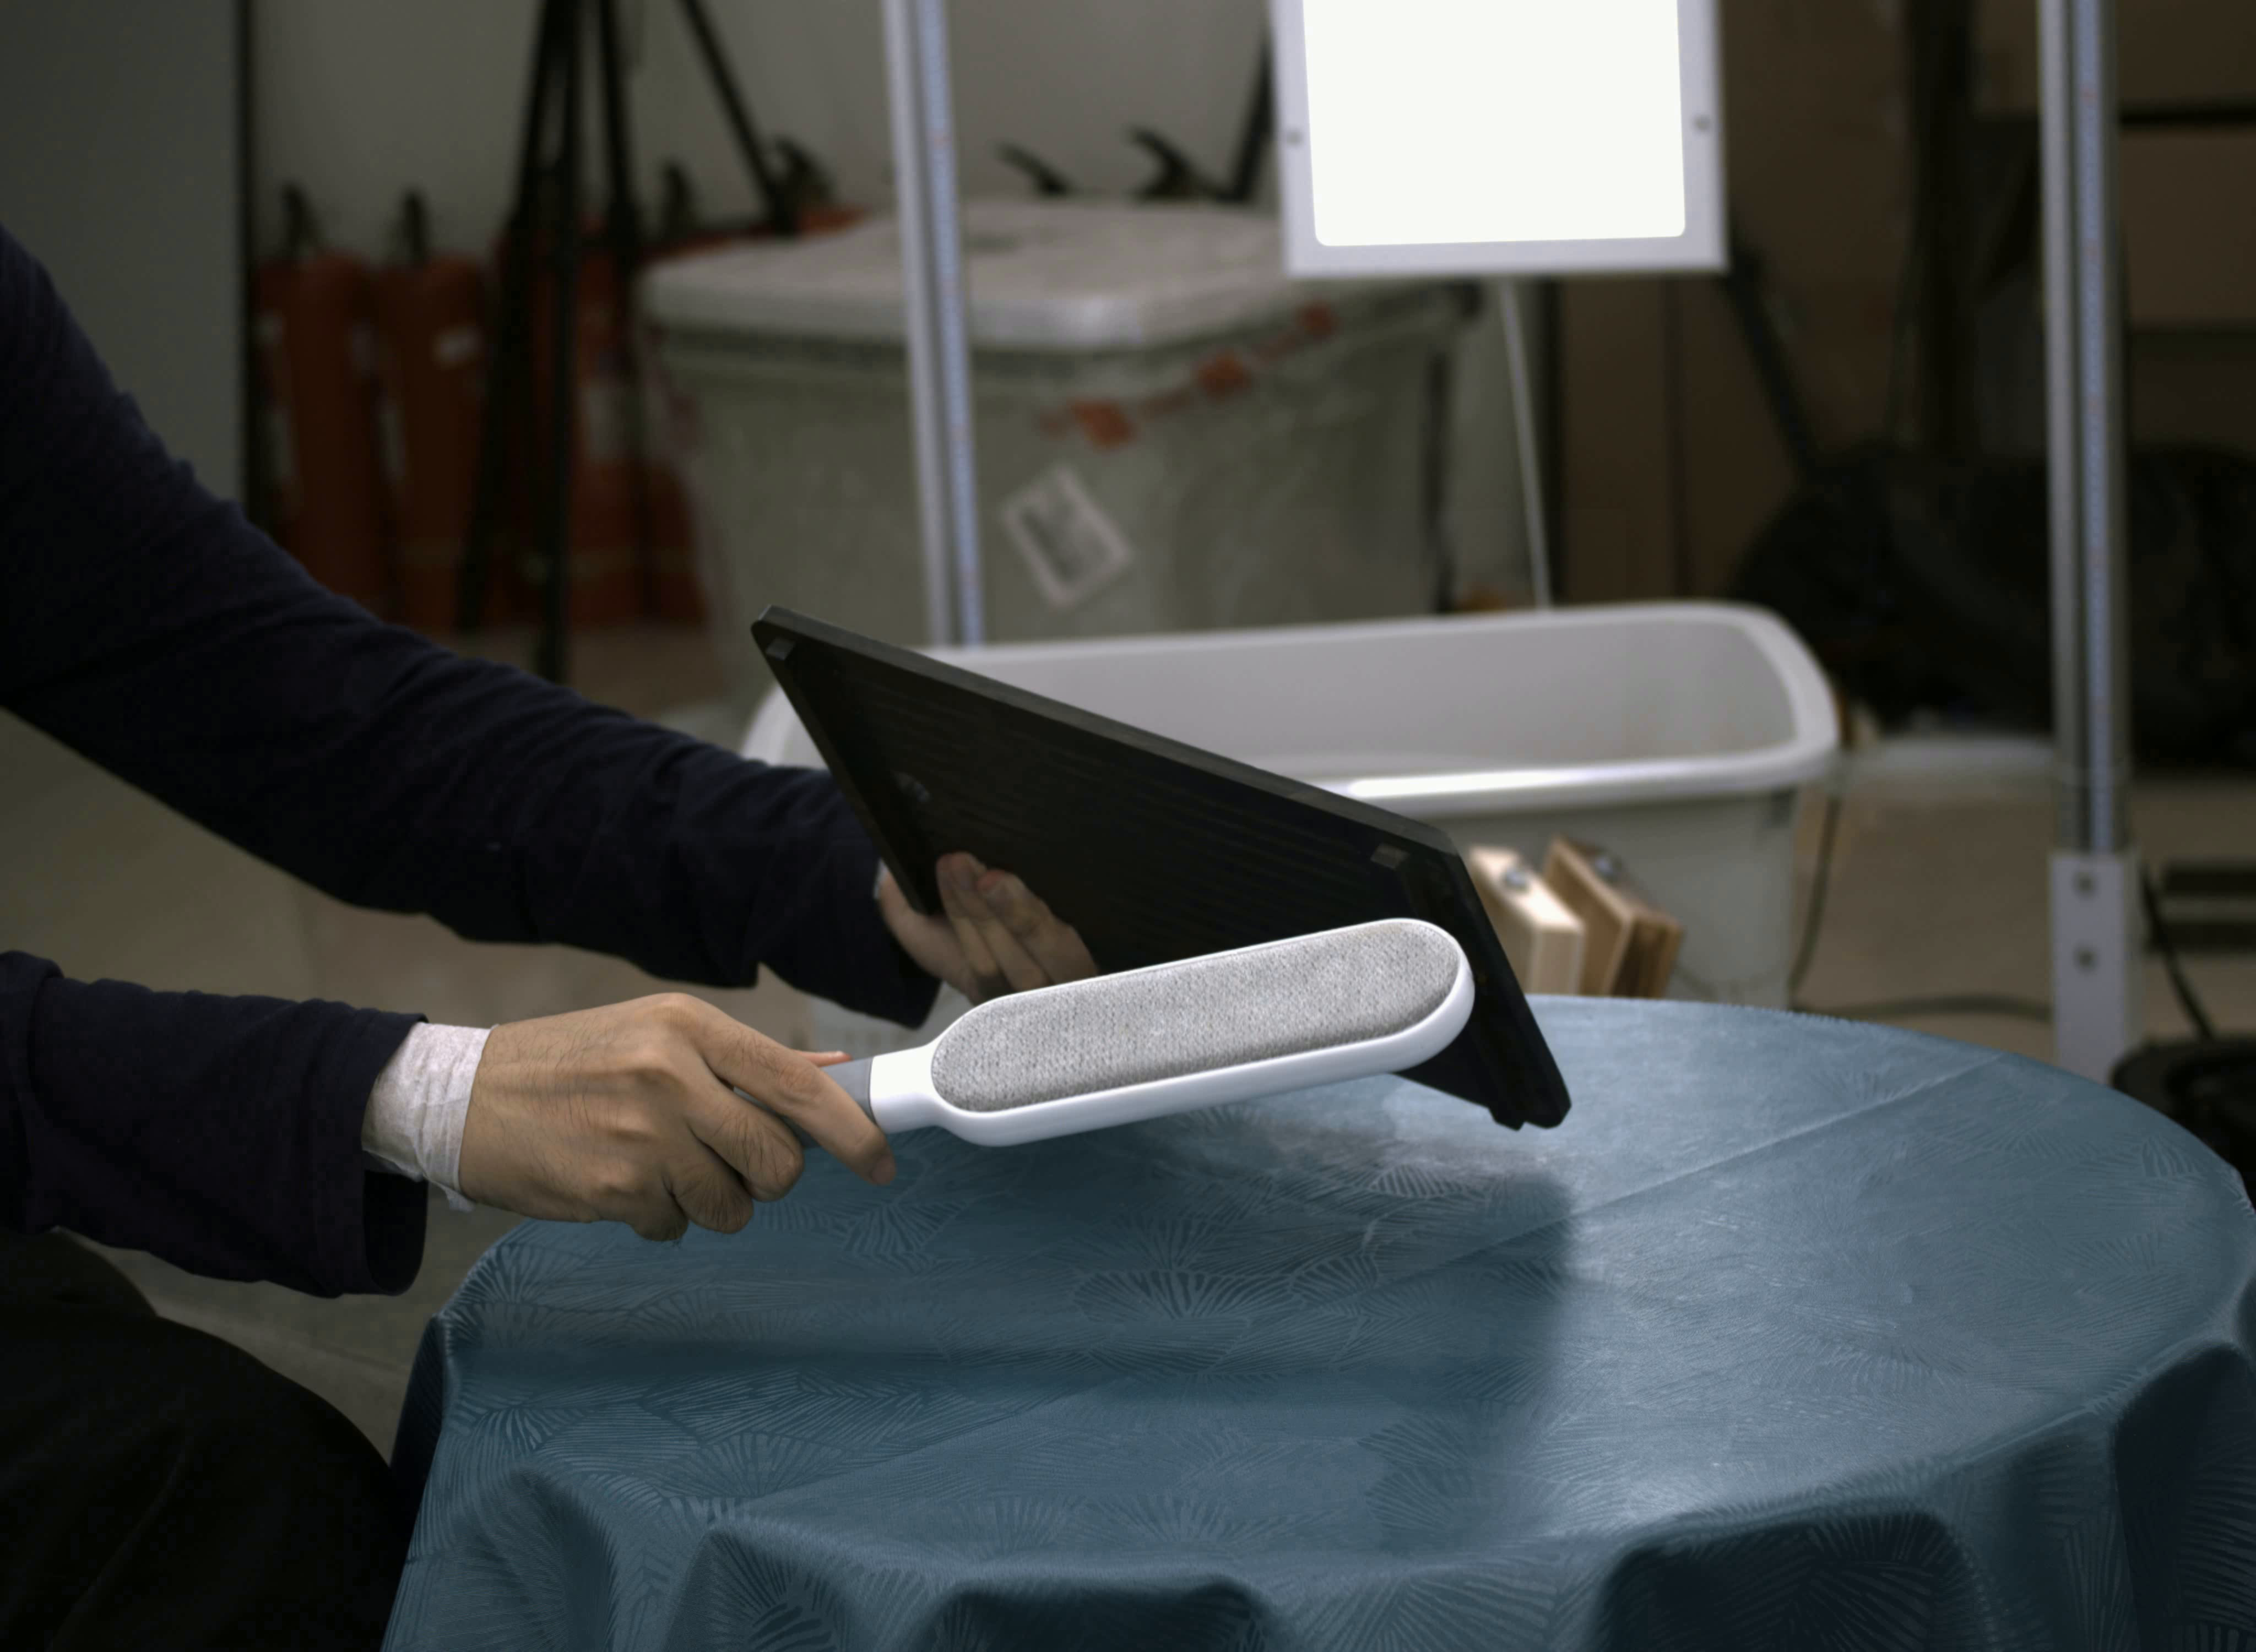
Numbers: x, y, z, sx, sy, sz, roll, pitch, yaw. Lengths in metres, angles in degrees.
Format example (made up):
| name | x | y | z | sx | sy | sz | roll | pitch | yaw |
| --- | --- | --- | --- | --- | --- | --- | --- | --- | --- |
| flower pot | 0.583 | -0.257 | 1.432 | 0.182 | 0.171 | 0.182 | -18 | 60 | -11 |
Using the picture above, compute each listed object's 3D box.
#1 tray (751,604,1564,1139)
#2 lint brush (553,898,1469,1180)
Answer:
| name | x | y | z | sx | sy | sz | roll | pitch | yaw |
| --- | --- | --- | --- | --- | --- | --- | --- | --- | --- |
| tray | 0.006 | 0.018 | 1.925 | 0.311 | 0.169 | 0.018 | 20 | 62 | 35 |
| lint brush | -0.040 | 0.072 | 1.765 | 0.312 | 0.021 | 0.060 | -12 | 45 | 15 |
